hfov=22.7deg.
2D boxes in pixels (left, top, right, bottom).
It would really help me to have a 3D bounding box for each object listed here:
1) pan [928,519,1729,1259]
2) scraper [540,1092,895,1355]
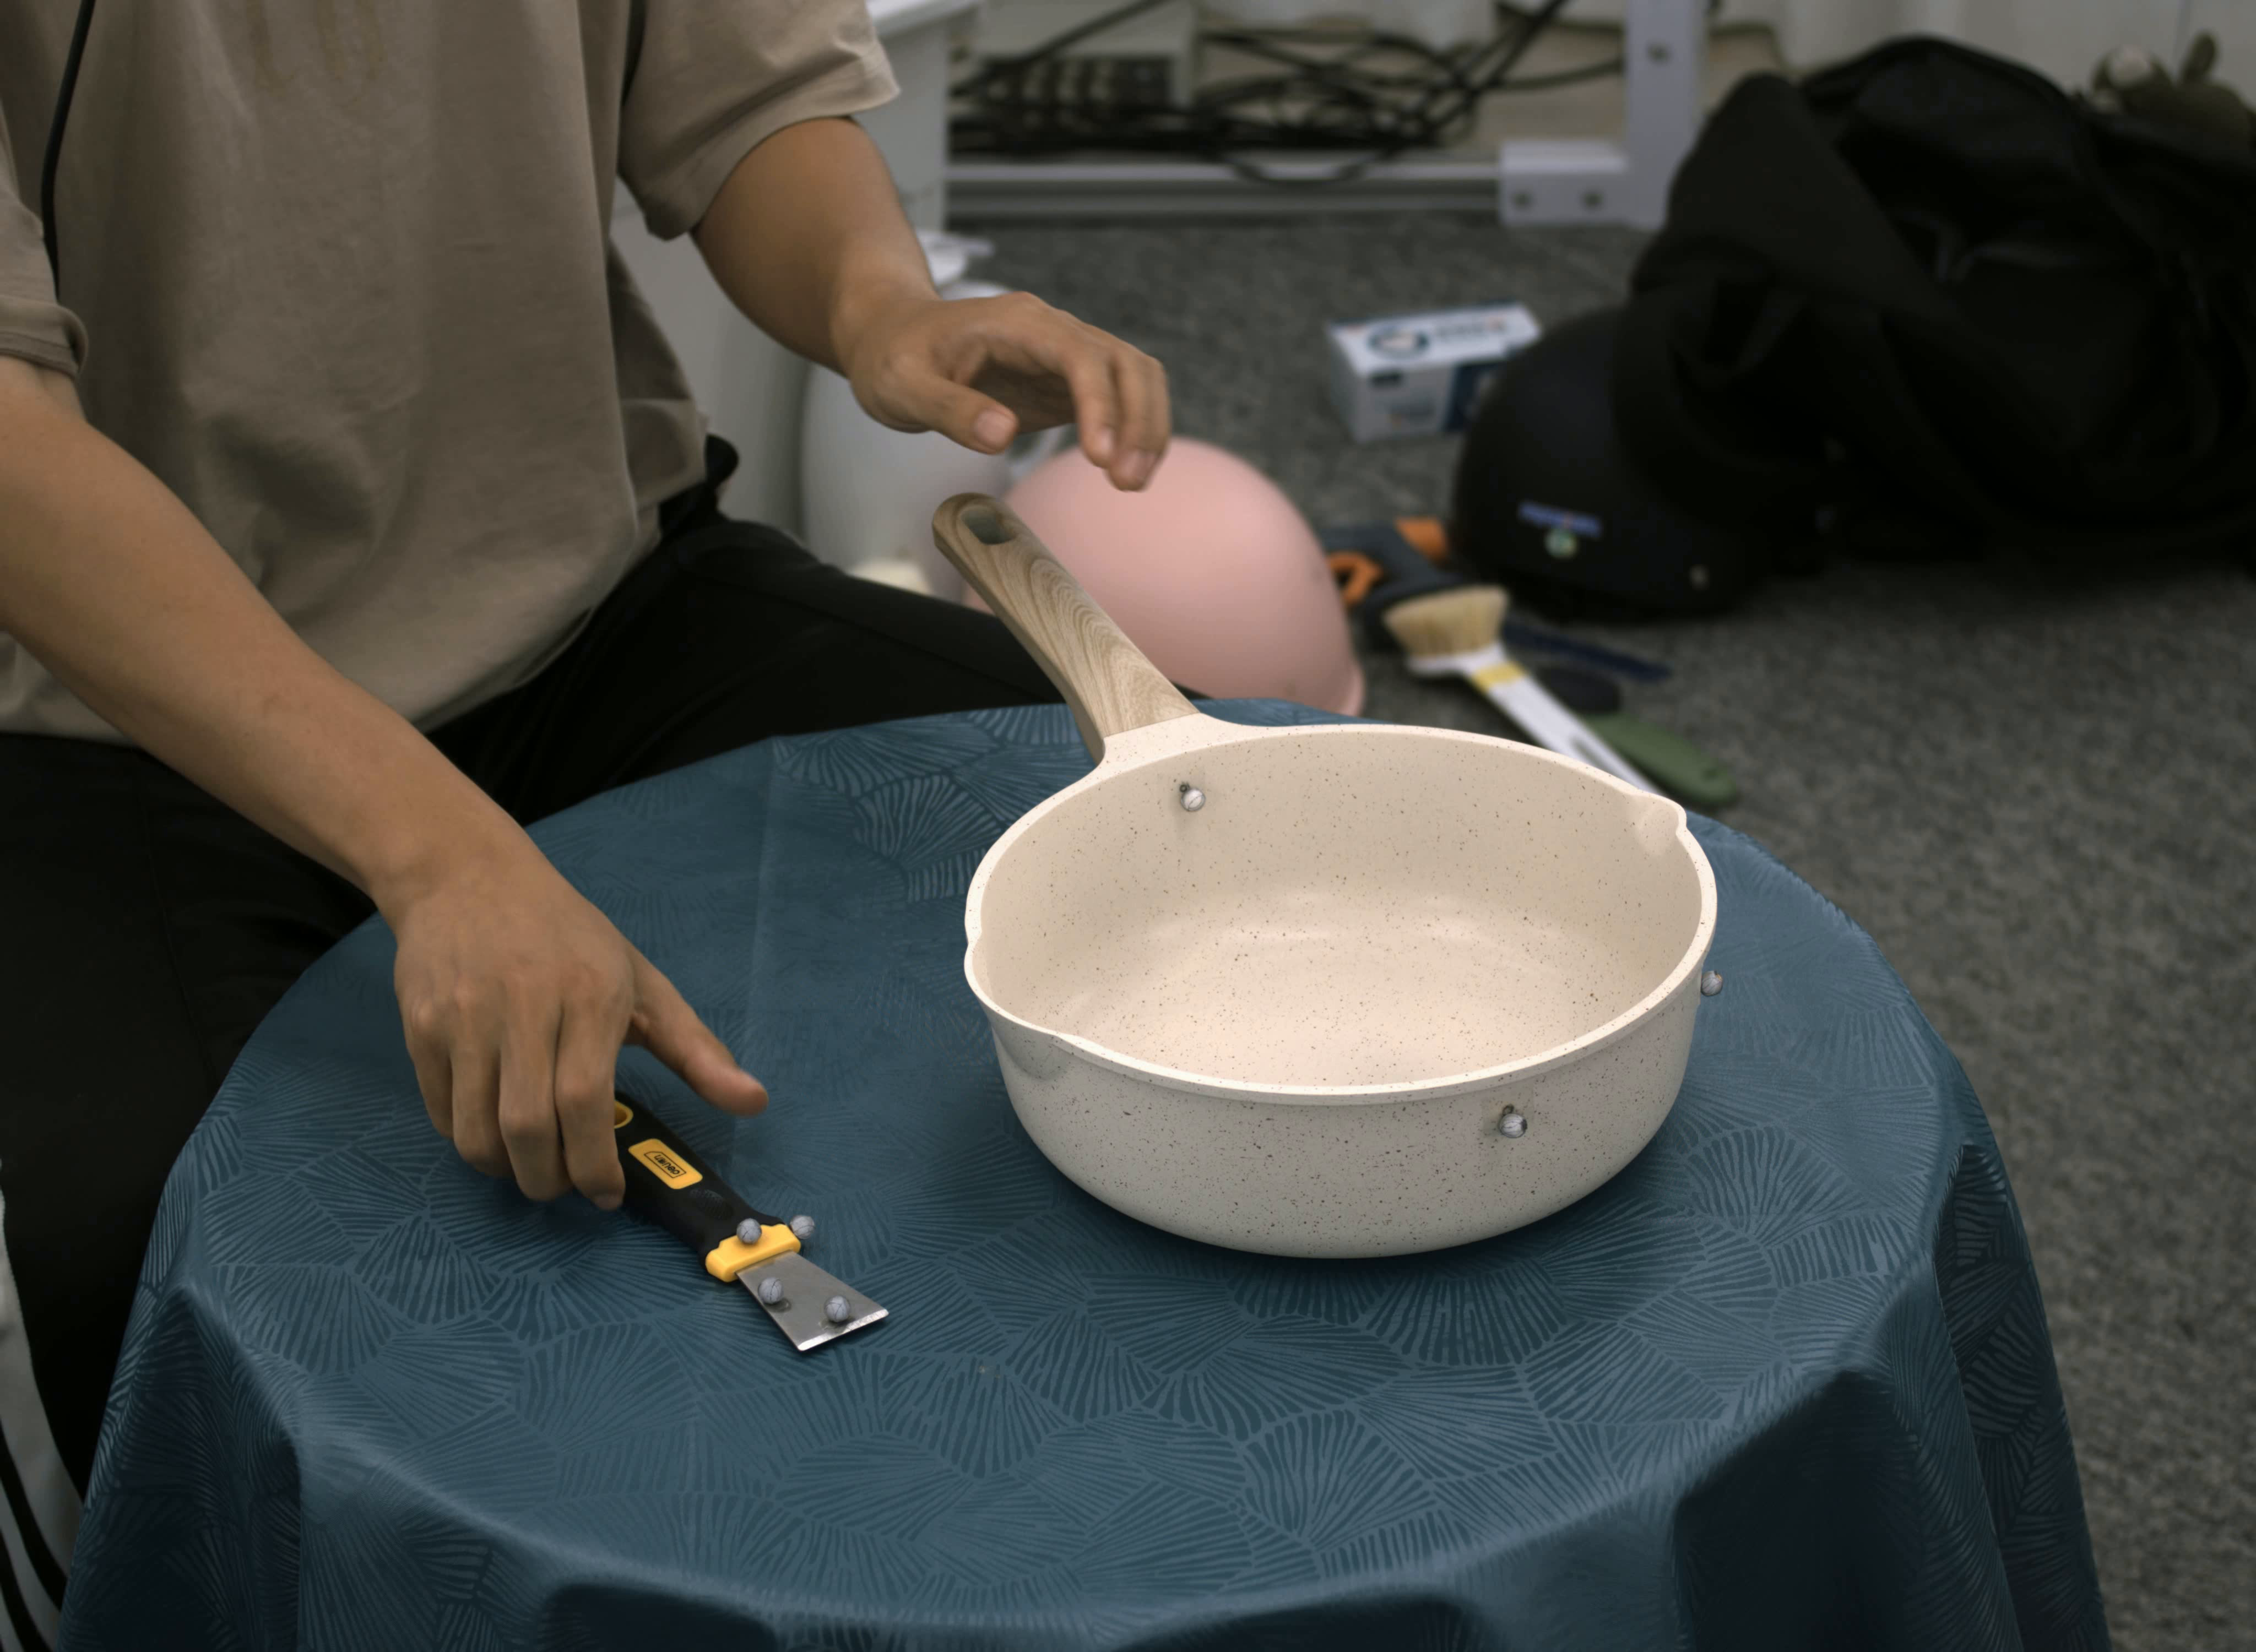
[{"bbox_3d":[0.037,0.015,1.963,0.264,0.101,0.437,-17,31,-21],"label":"pan"},{"bbox_3d":[-0.140,0.129,1.843,0.039,0.015,0.171,-28,38,-28],"label":"scraper"}]
